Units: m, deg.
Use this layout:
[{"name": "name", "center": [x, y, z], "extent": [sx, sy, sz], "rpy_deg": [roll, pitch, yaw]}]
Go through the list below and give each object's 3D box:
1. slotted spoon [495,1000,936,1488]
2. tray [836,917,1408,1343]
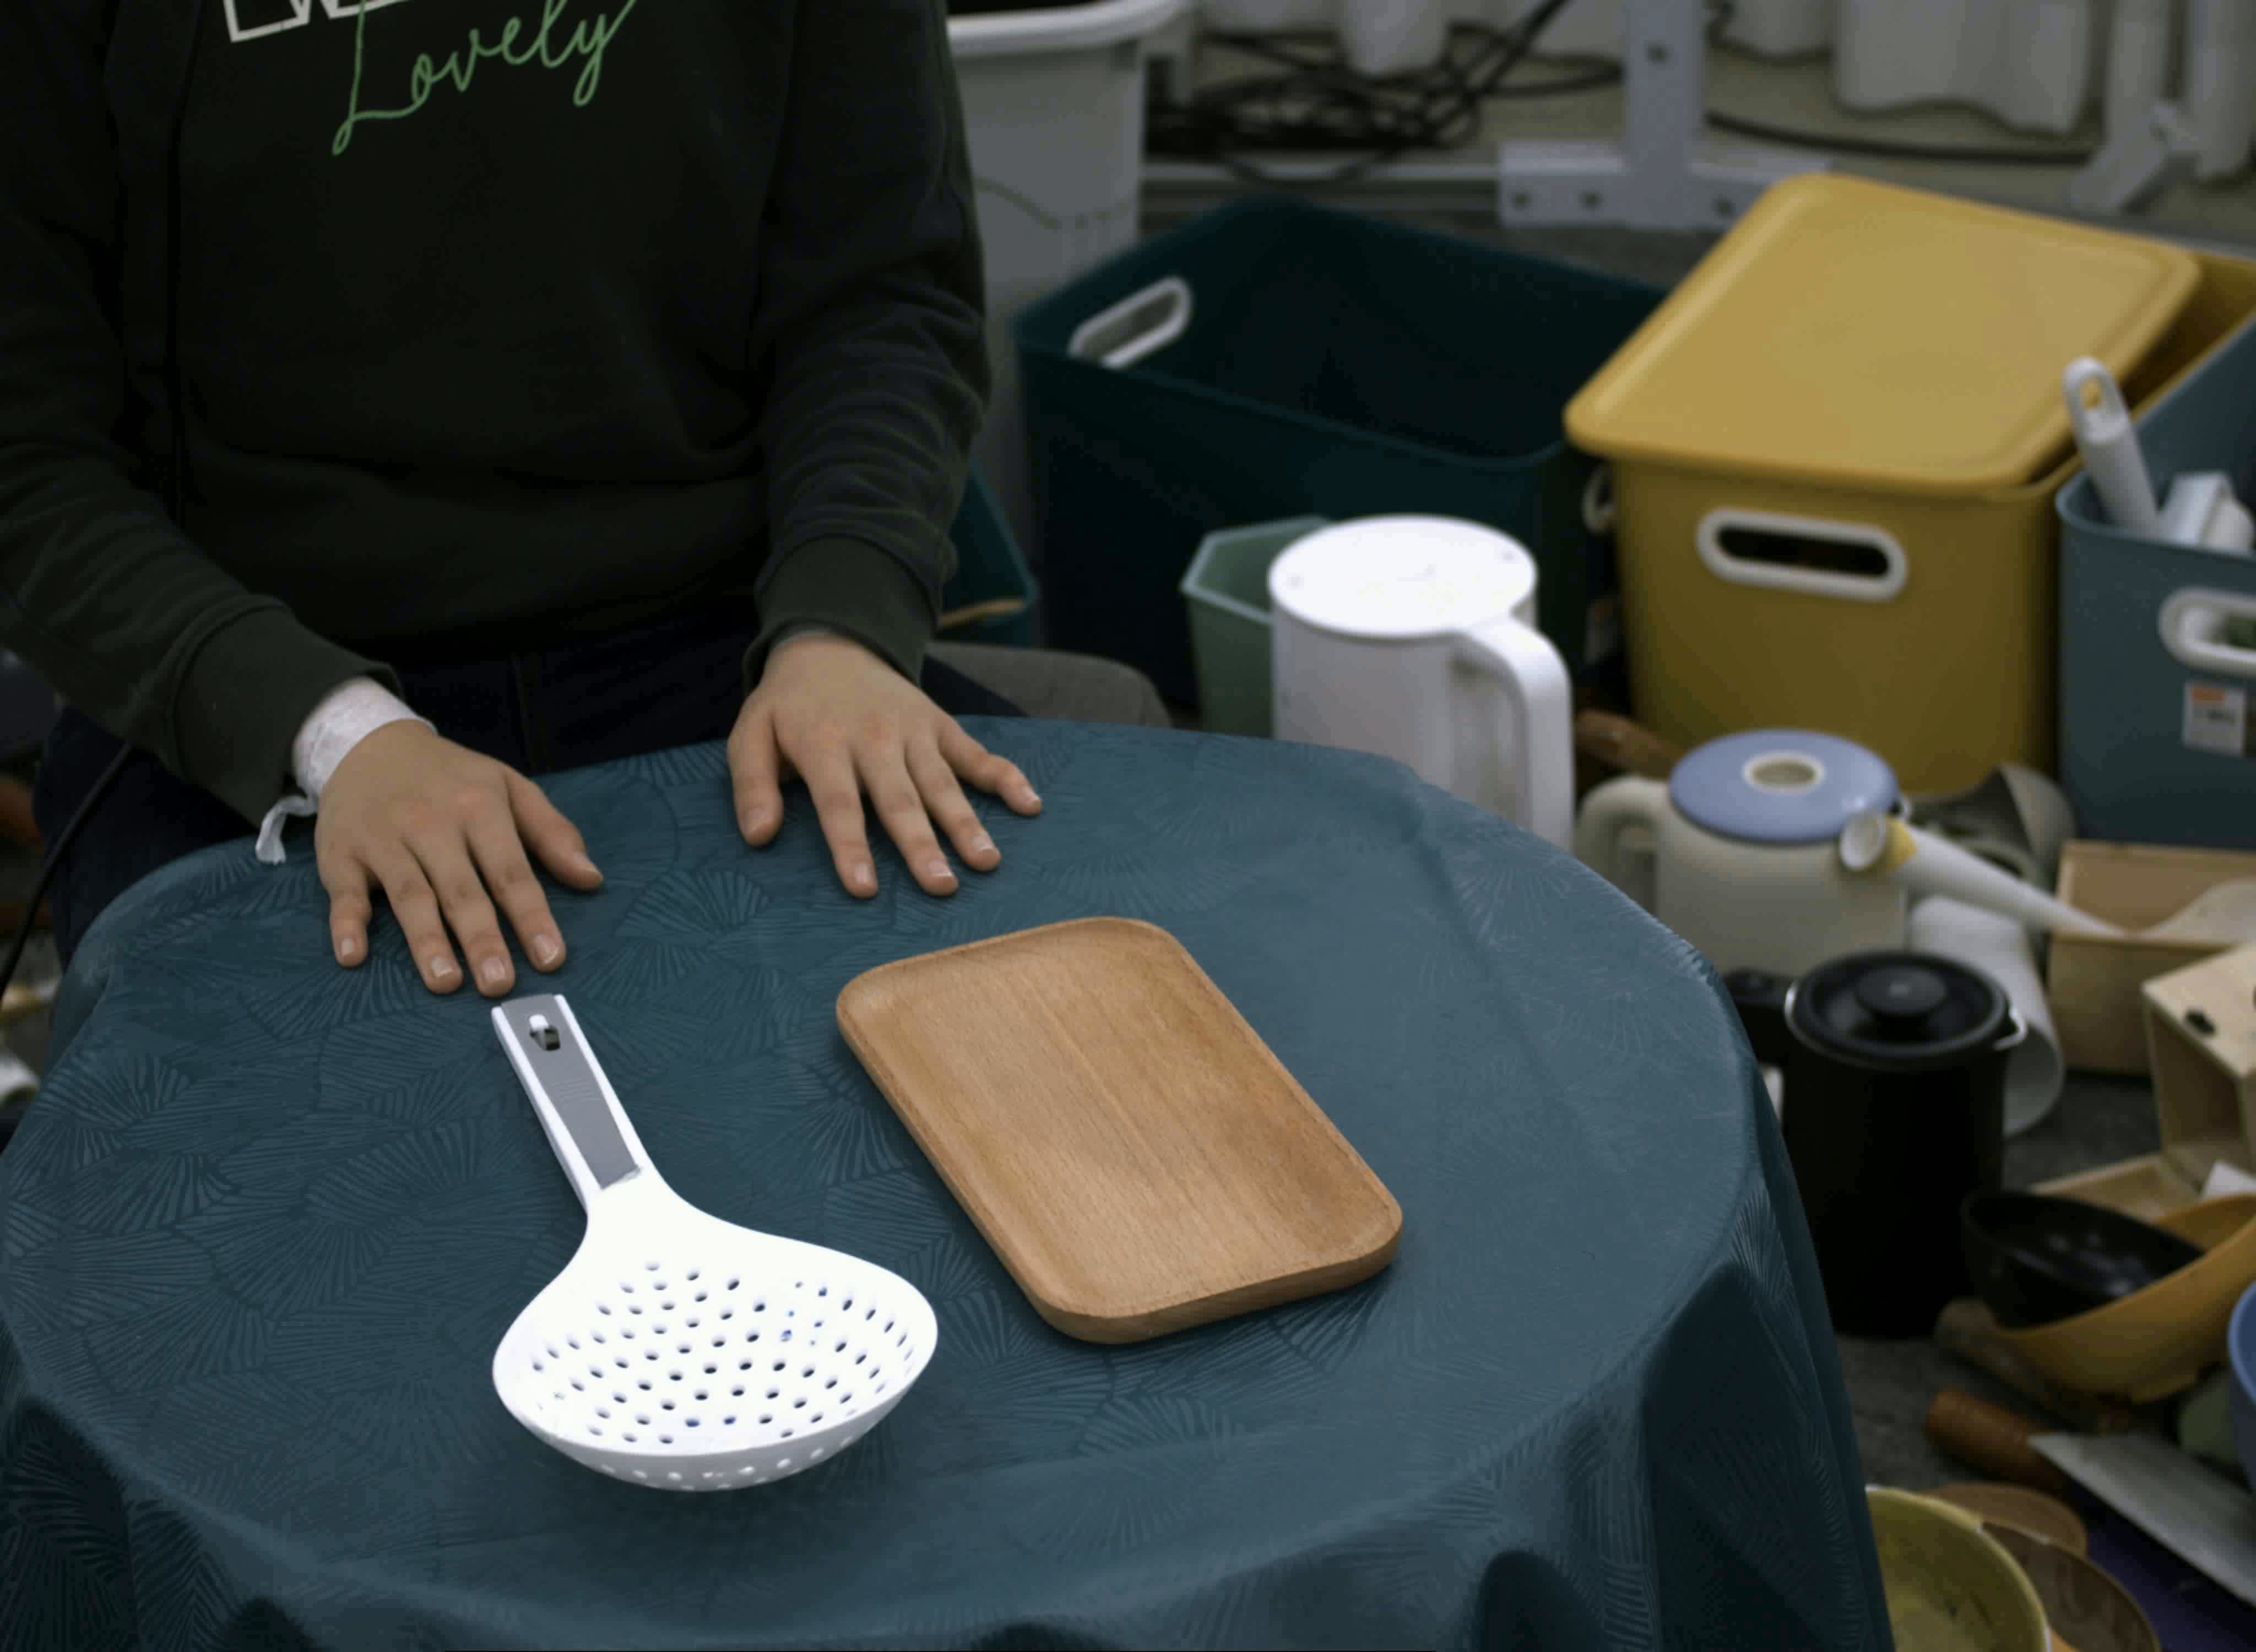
[{"name": "slotted spoon", "center": [-0.158, 0.128, 1.814], "extent": [0.136, 0.045, 0.353], "rpy_deg": [-8, 27, -15]}, {"name": "tray", "center": [-0.006, 0.099, 1.887], "extent": [0.131, 0.022, 0.252], "rpy_deg": [-10, 27, -18]}]
